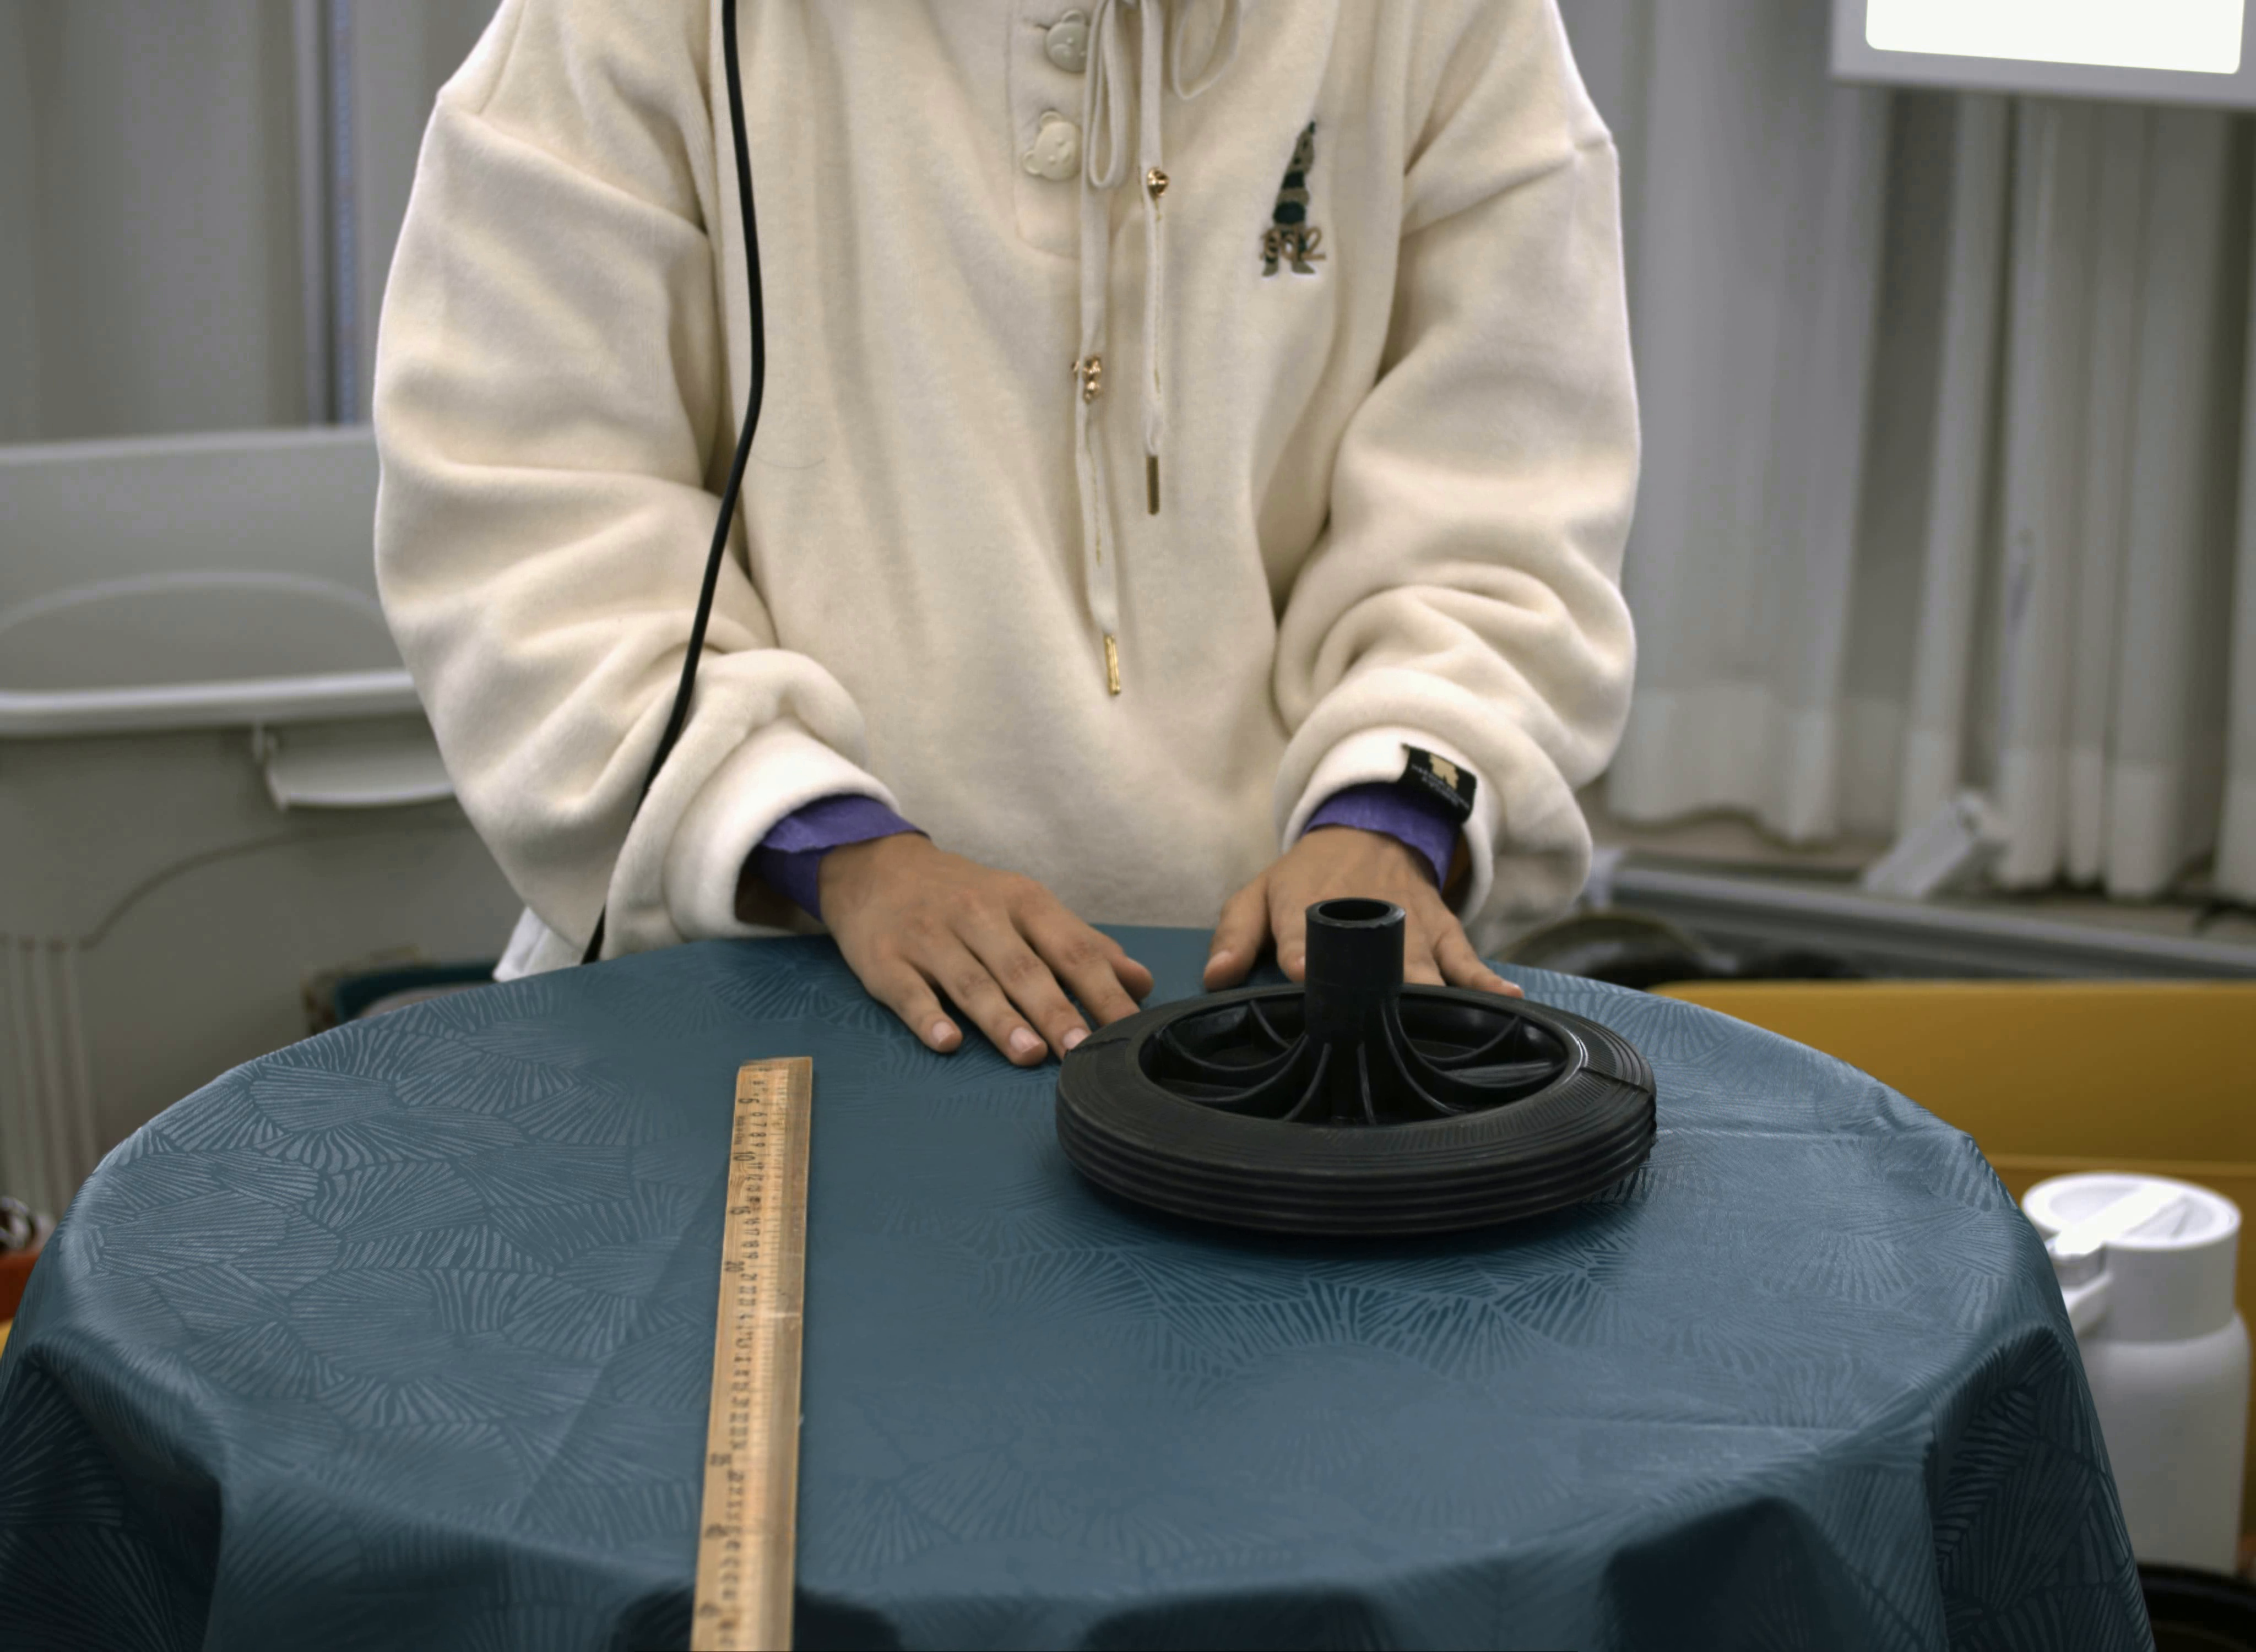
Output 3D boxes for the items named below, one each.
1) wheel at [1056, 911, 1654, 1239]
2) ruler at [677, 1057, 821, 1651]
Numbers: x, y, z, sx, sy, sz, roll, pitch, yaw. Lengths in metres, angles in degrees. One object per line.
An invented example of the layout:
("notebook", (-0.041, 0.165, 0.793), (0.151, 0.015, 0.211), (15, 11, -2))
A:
("wheel", (0.071, 0.068, 1.639), (0.191, 0.080, 0.185), (-14, 21, -38))
("ruler", (-0.105, 0.144, 1.494), (0.027, 0.006, 0.497), (-1, 15, -2))
